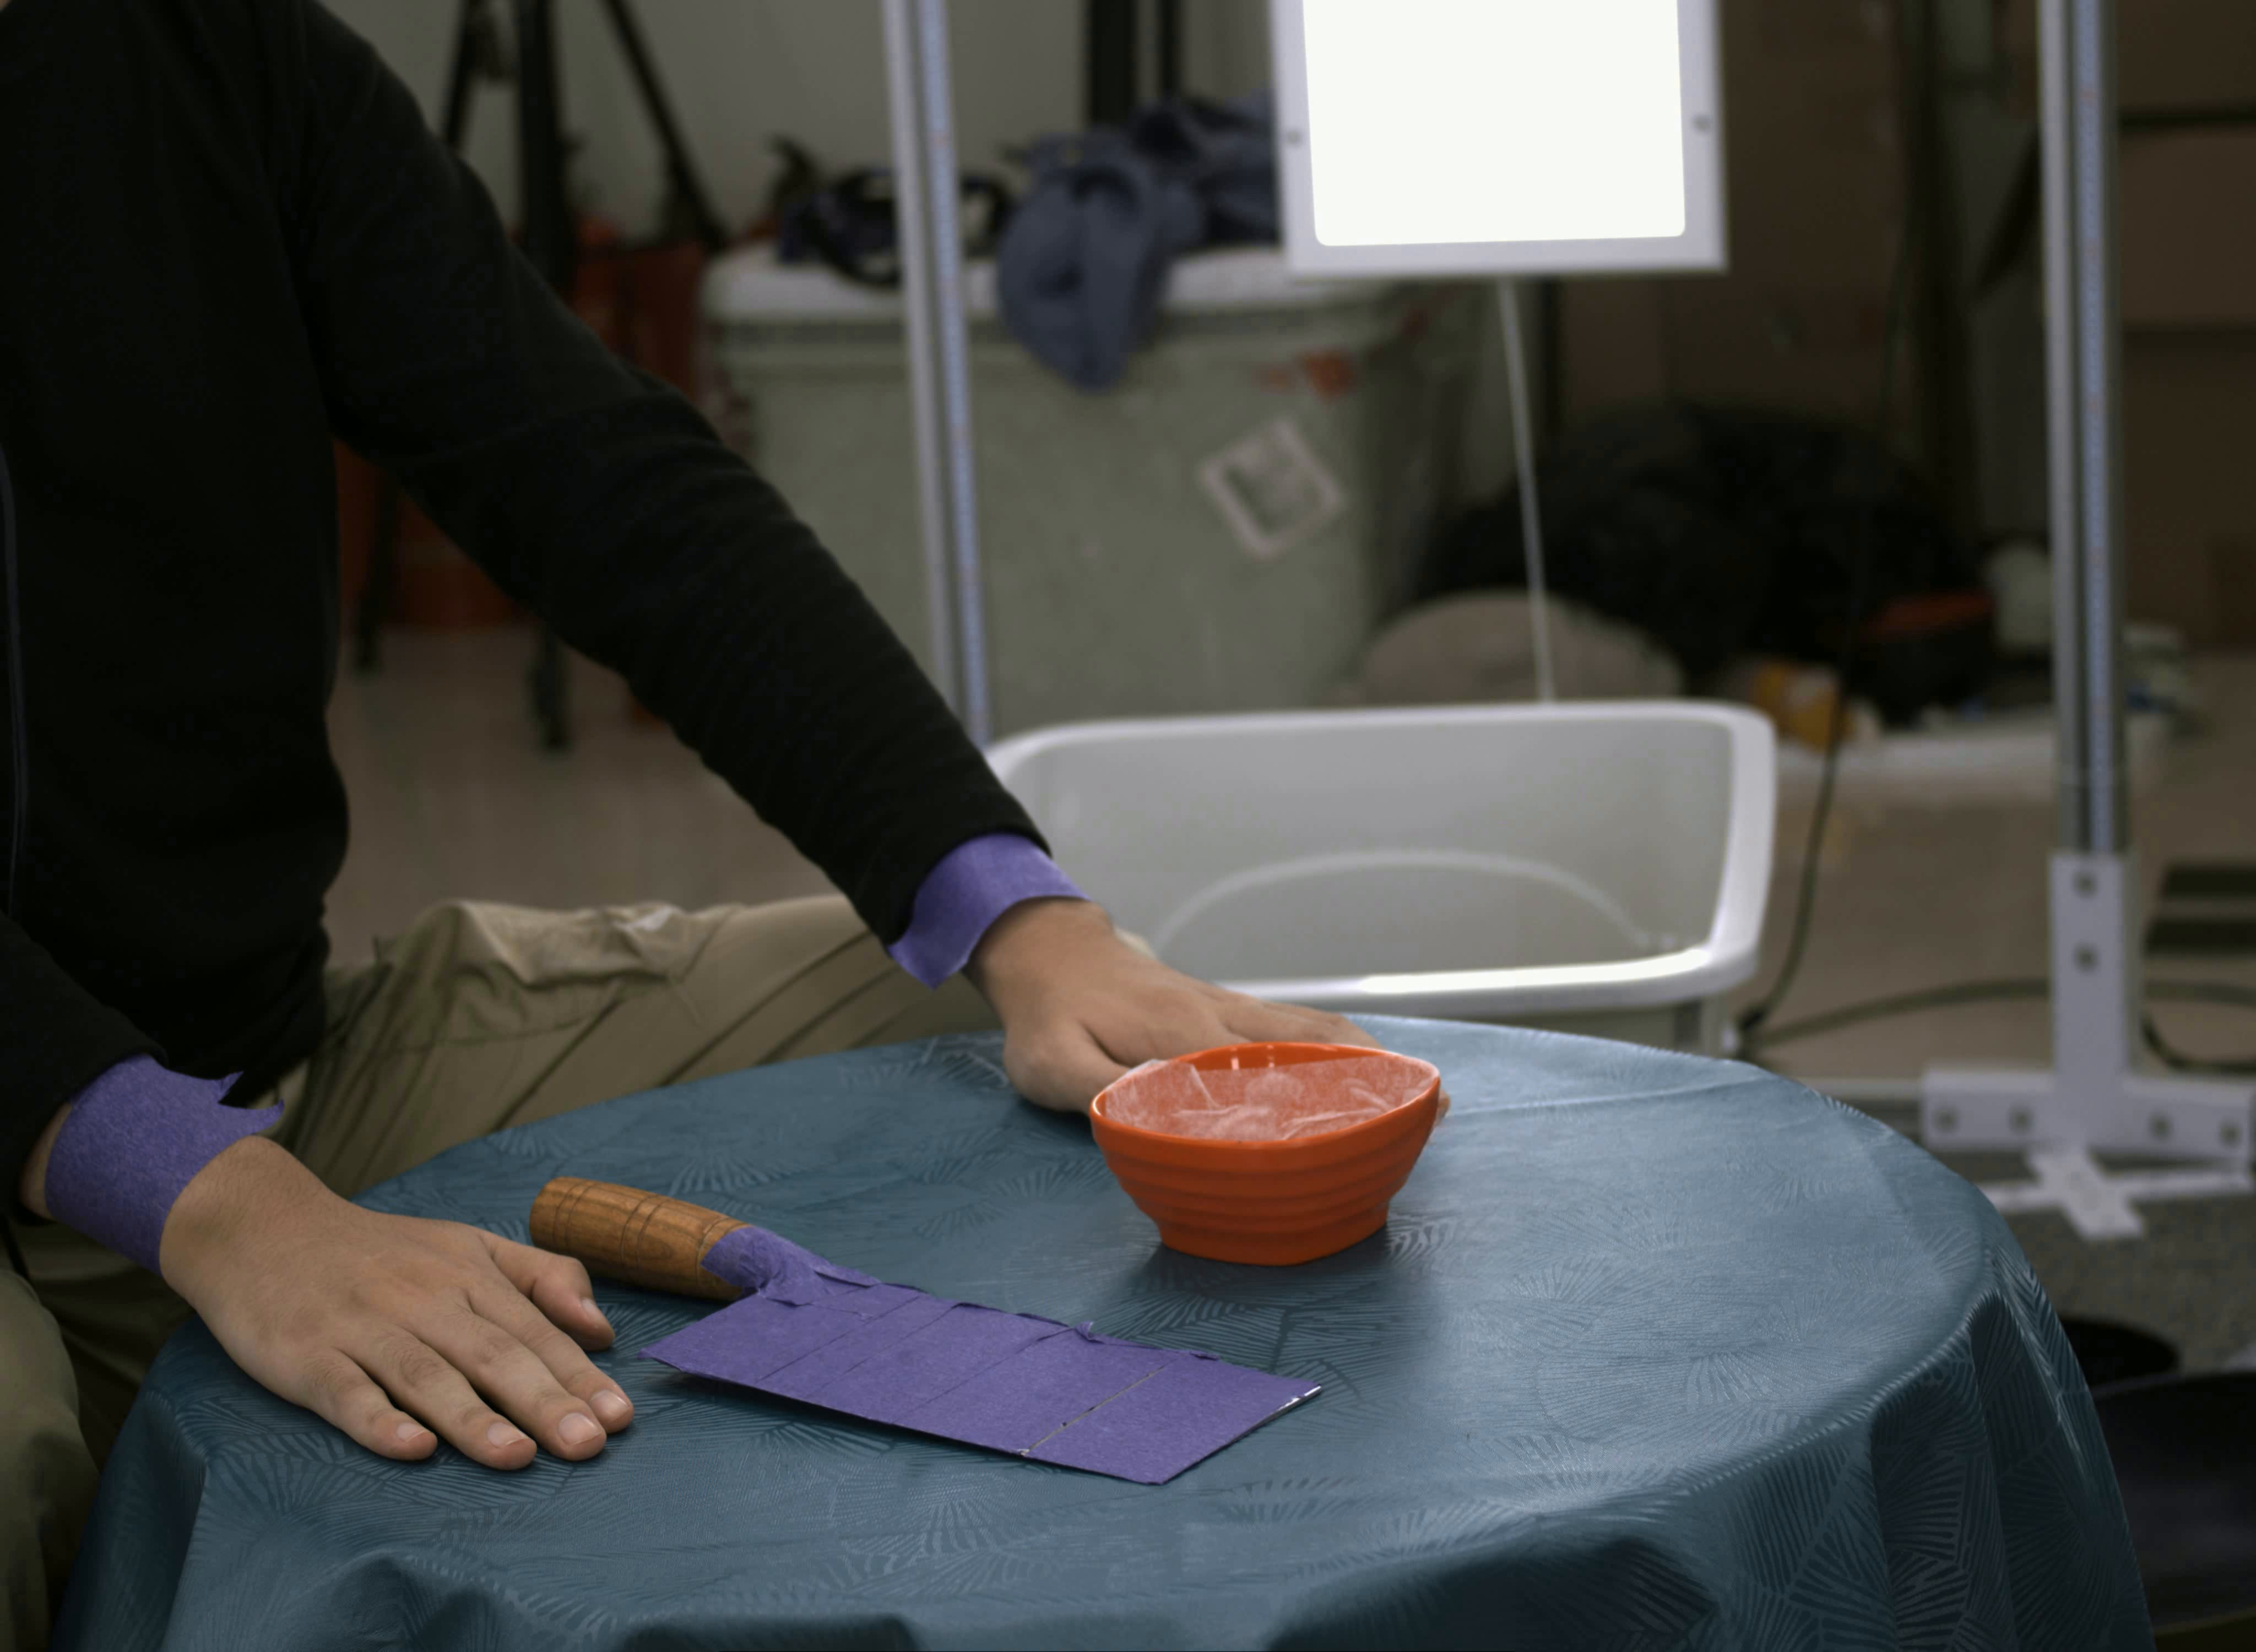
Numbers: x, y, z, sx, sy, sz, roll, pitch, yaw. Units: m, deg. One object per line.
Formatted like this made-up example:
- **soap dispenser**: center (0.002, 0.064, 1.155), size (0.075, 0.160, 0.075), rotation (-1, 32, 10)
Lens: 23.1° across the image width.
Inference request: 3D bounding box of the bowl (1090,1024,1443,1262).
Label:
- **bowl**: center (0.047, 0.108, 1.836), size (0.118, 0.051, 0.119), rotation (-3, 17, 0)

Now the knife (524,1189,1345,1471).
- **knife**: center (-0.087, 0.158, 1.747), size (0.322, 0.032, 0.101), rotation (6, 18, 37)
